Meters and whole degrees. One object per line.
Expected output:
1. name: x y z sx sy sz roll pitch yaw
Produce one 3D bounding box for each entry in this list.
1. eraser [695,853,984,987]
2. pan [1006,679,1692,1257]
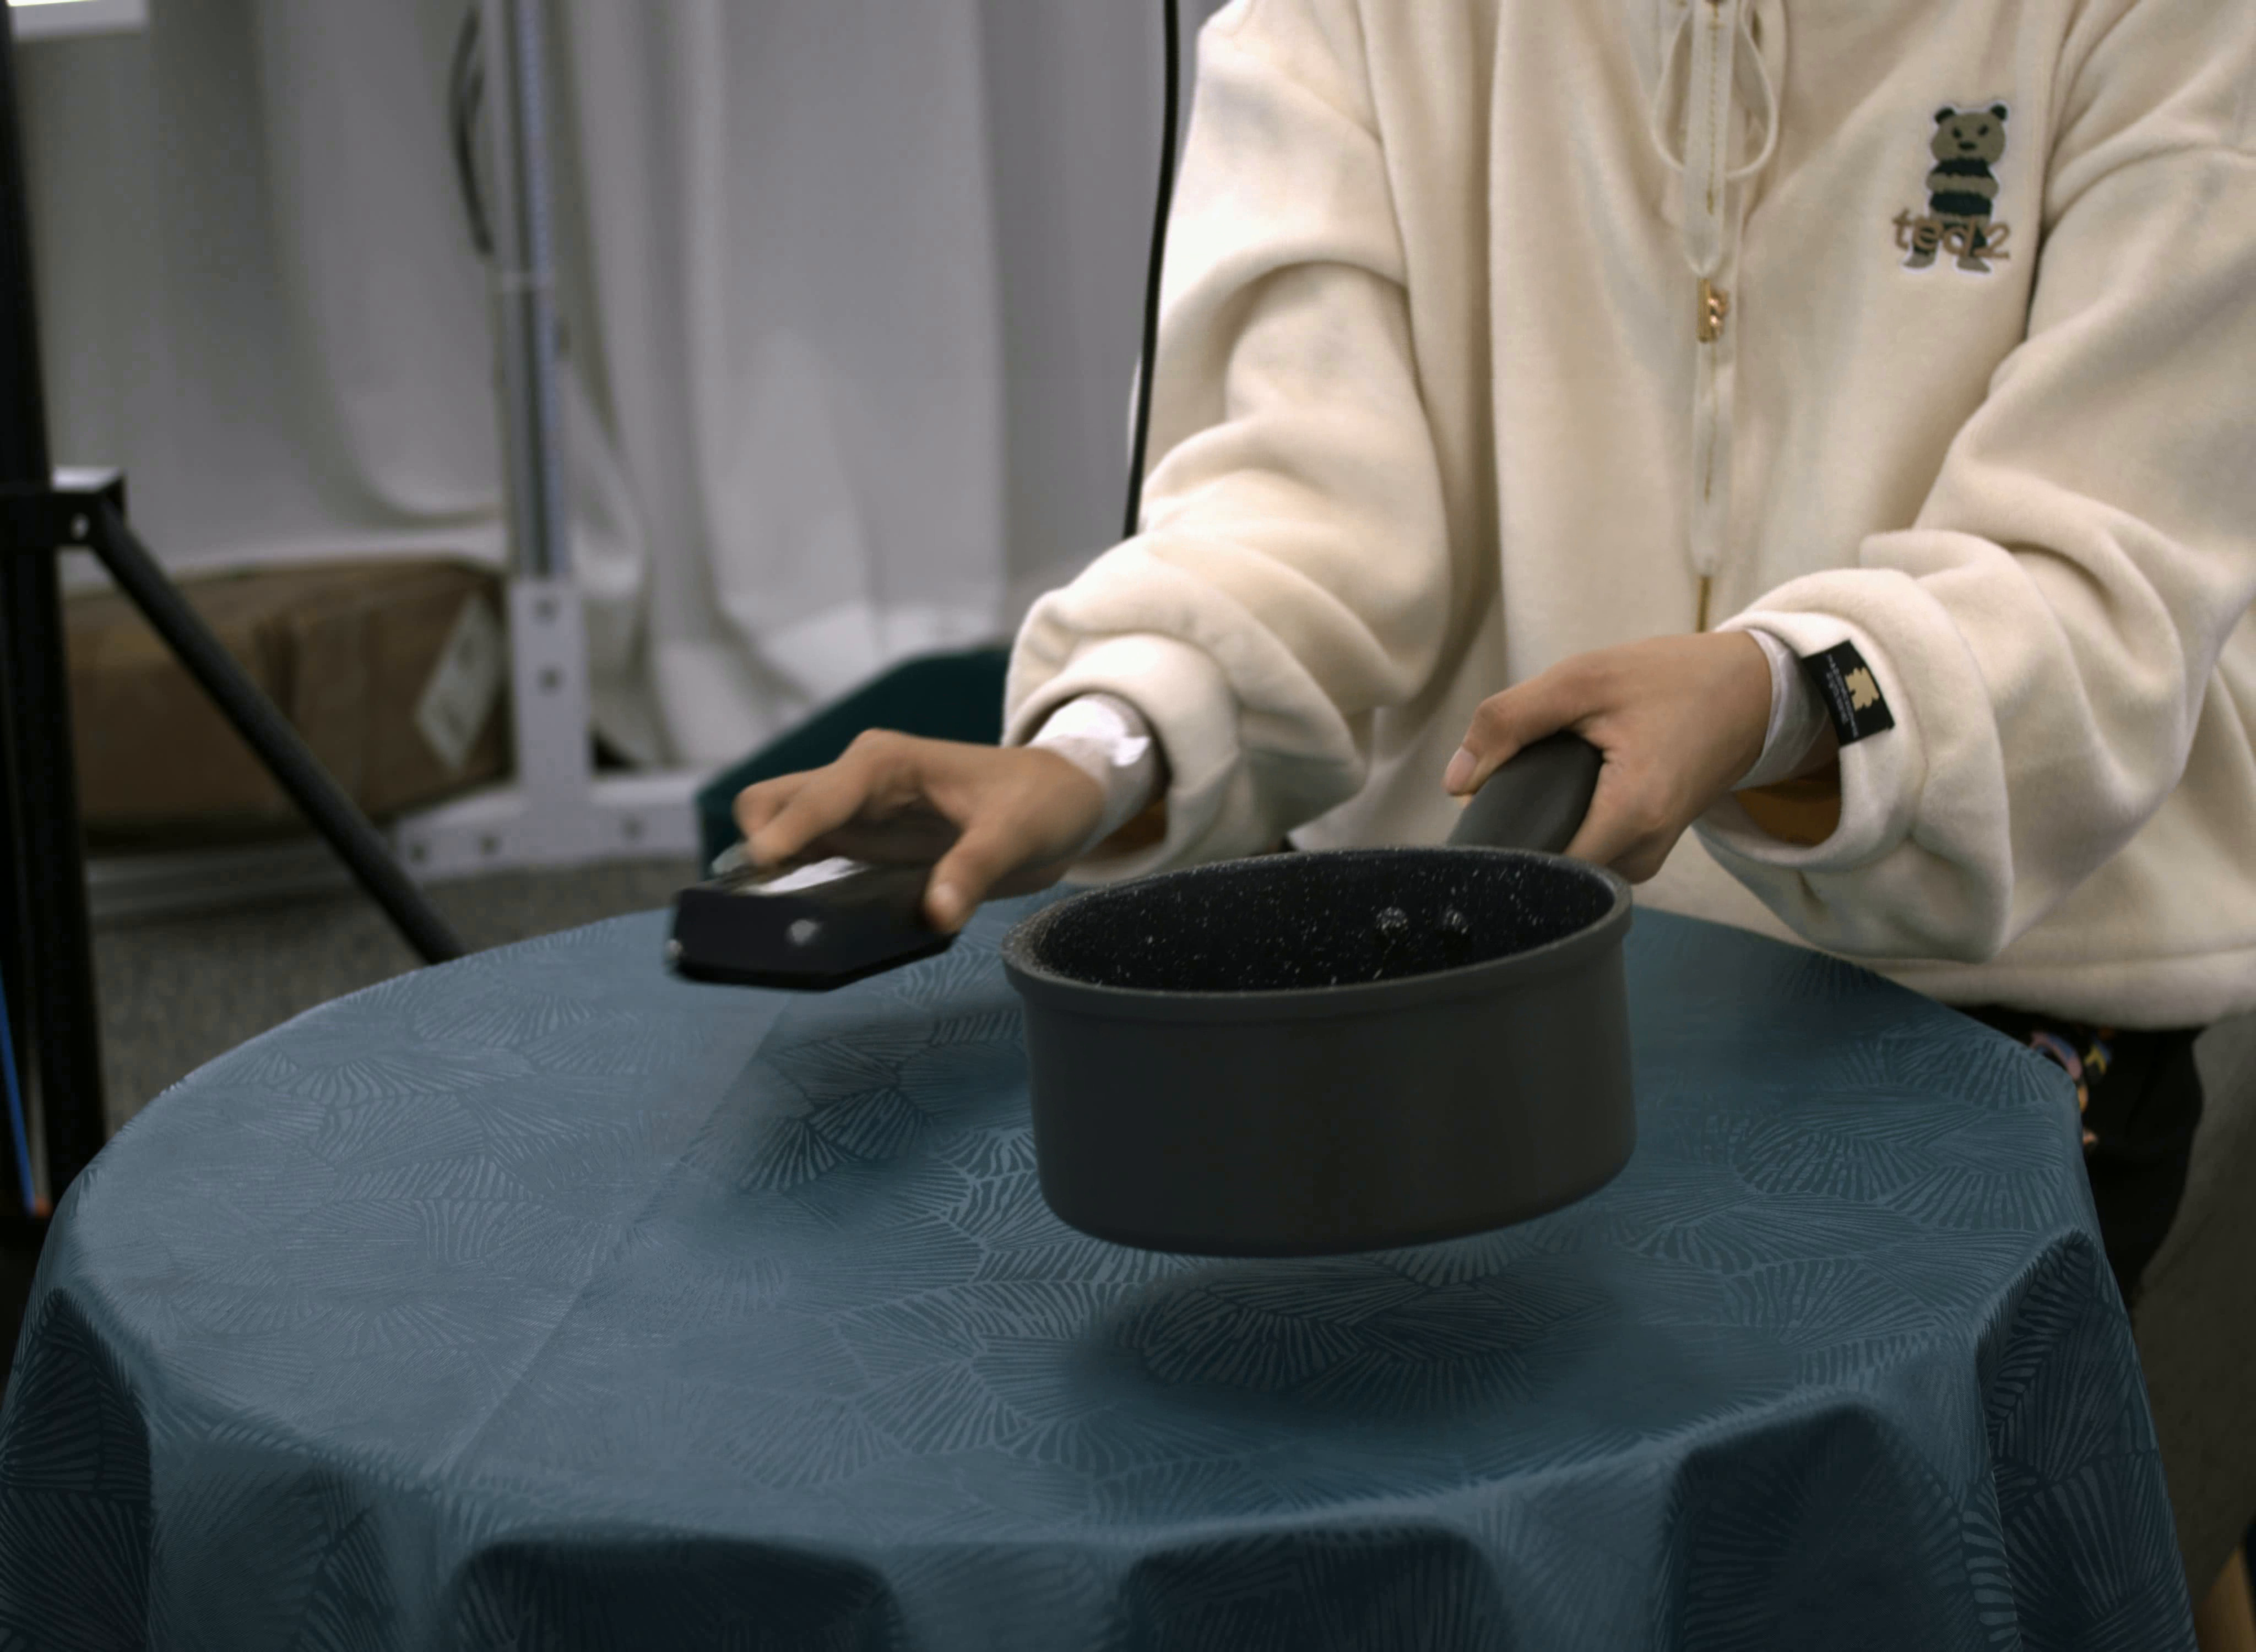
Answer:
1. eraser: -0.087 0.028 1.629 0.054 0.030 0.124 4 4 16
2. pan: 0.089 0.037 1.496 0.175 0.086 0.323 0 14 27
